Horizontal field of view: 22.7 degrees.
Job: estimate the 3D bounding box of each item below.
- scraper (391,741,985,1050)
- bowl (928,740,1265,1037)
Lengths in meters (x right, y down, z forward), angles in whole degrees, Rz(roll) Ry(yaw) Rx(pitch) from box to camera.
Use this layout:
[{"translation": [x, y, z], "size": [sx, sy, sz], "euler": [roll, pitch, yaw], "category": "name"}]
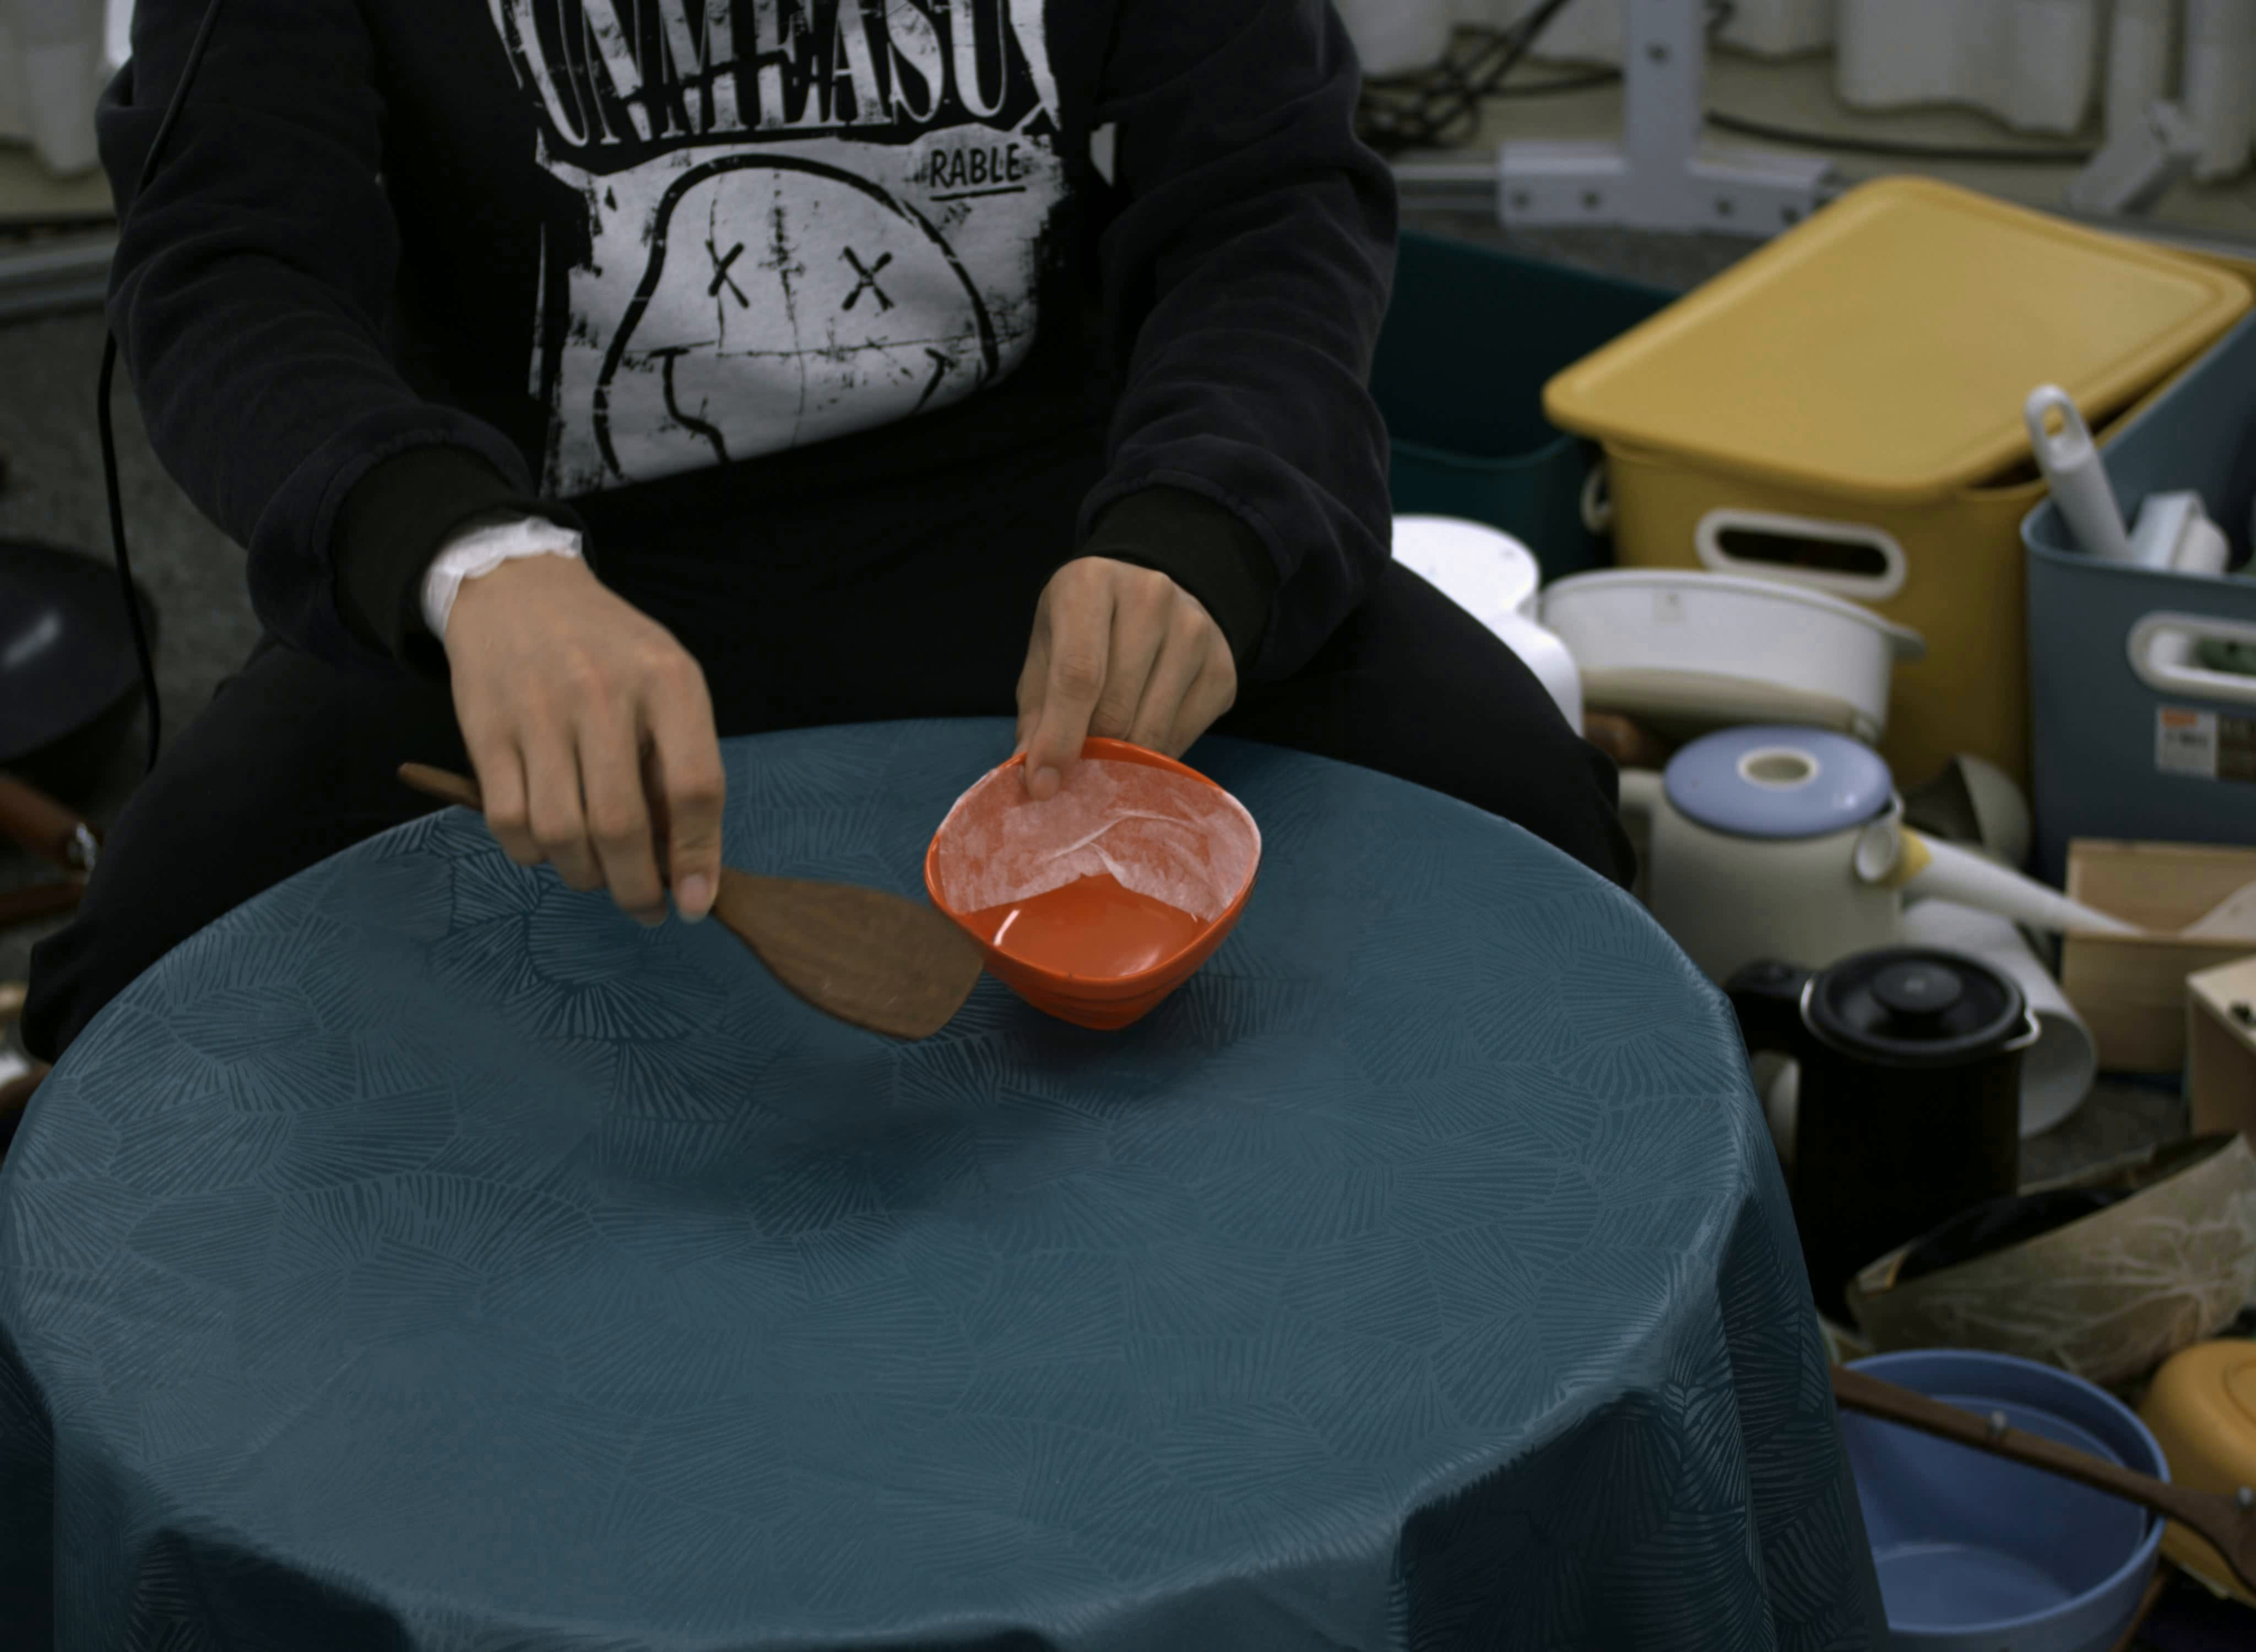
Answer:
[{"translation": [-0.150, 0.020, 1.885], "size": [0.210, 0.010, 0.077], "euler": [24, 32, 7], "category": "scraper"}, {"translation": [-0.010, 0.029, 1.967], "size": [0.118, 0.050, 0.121], "euler": [0, 46, 1], "category": "bowl"}]
